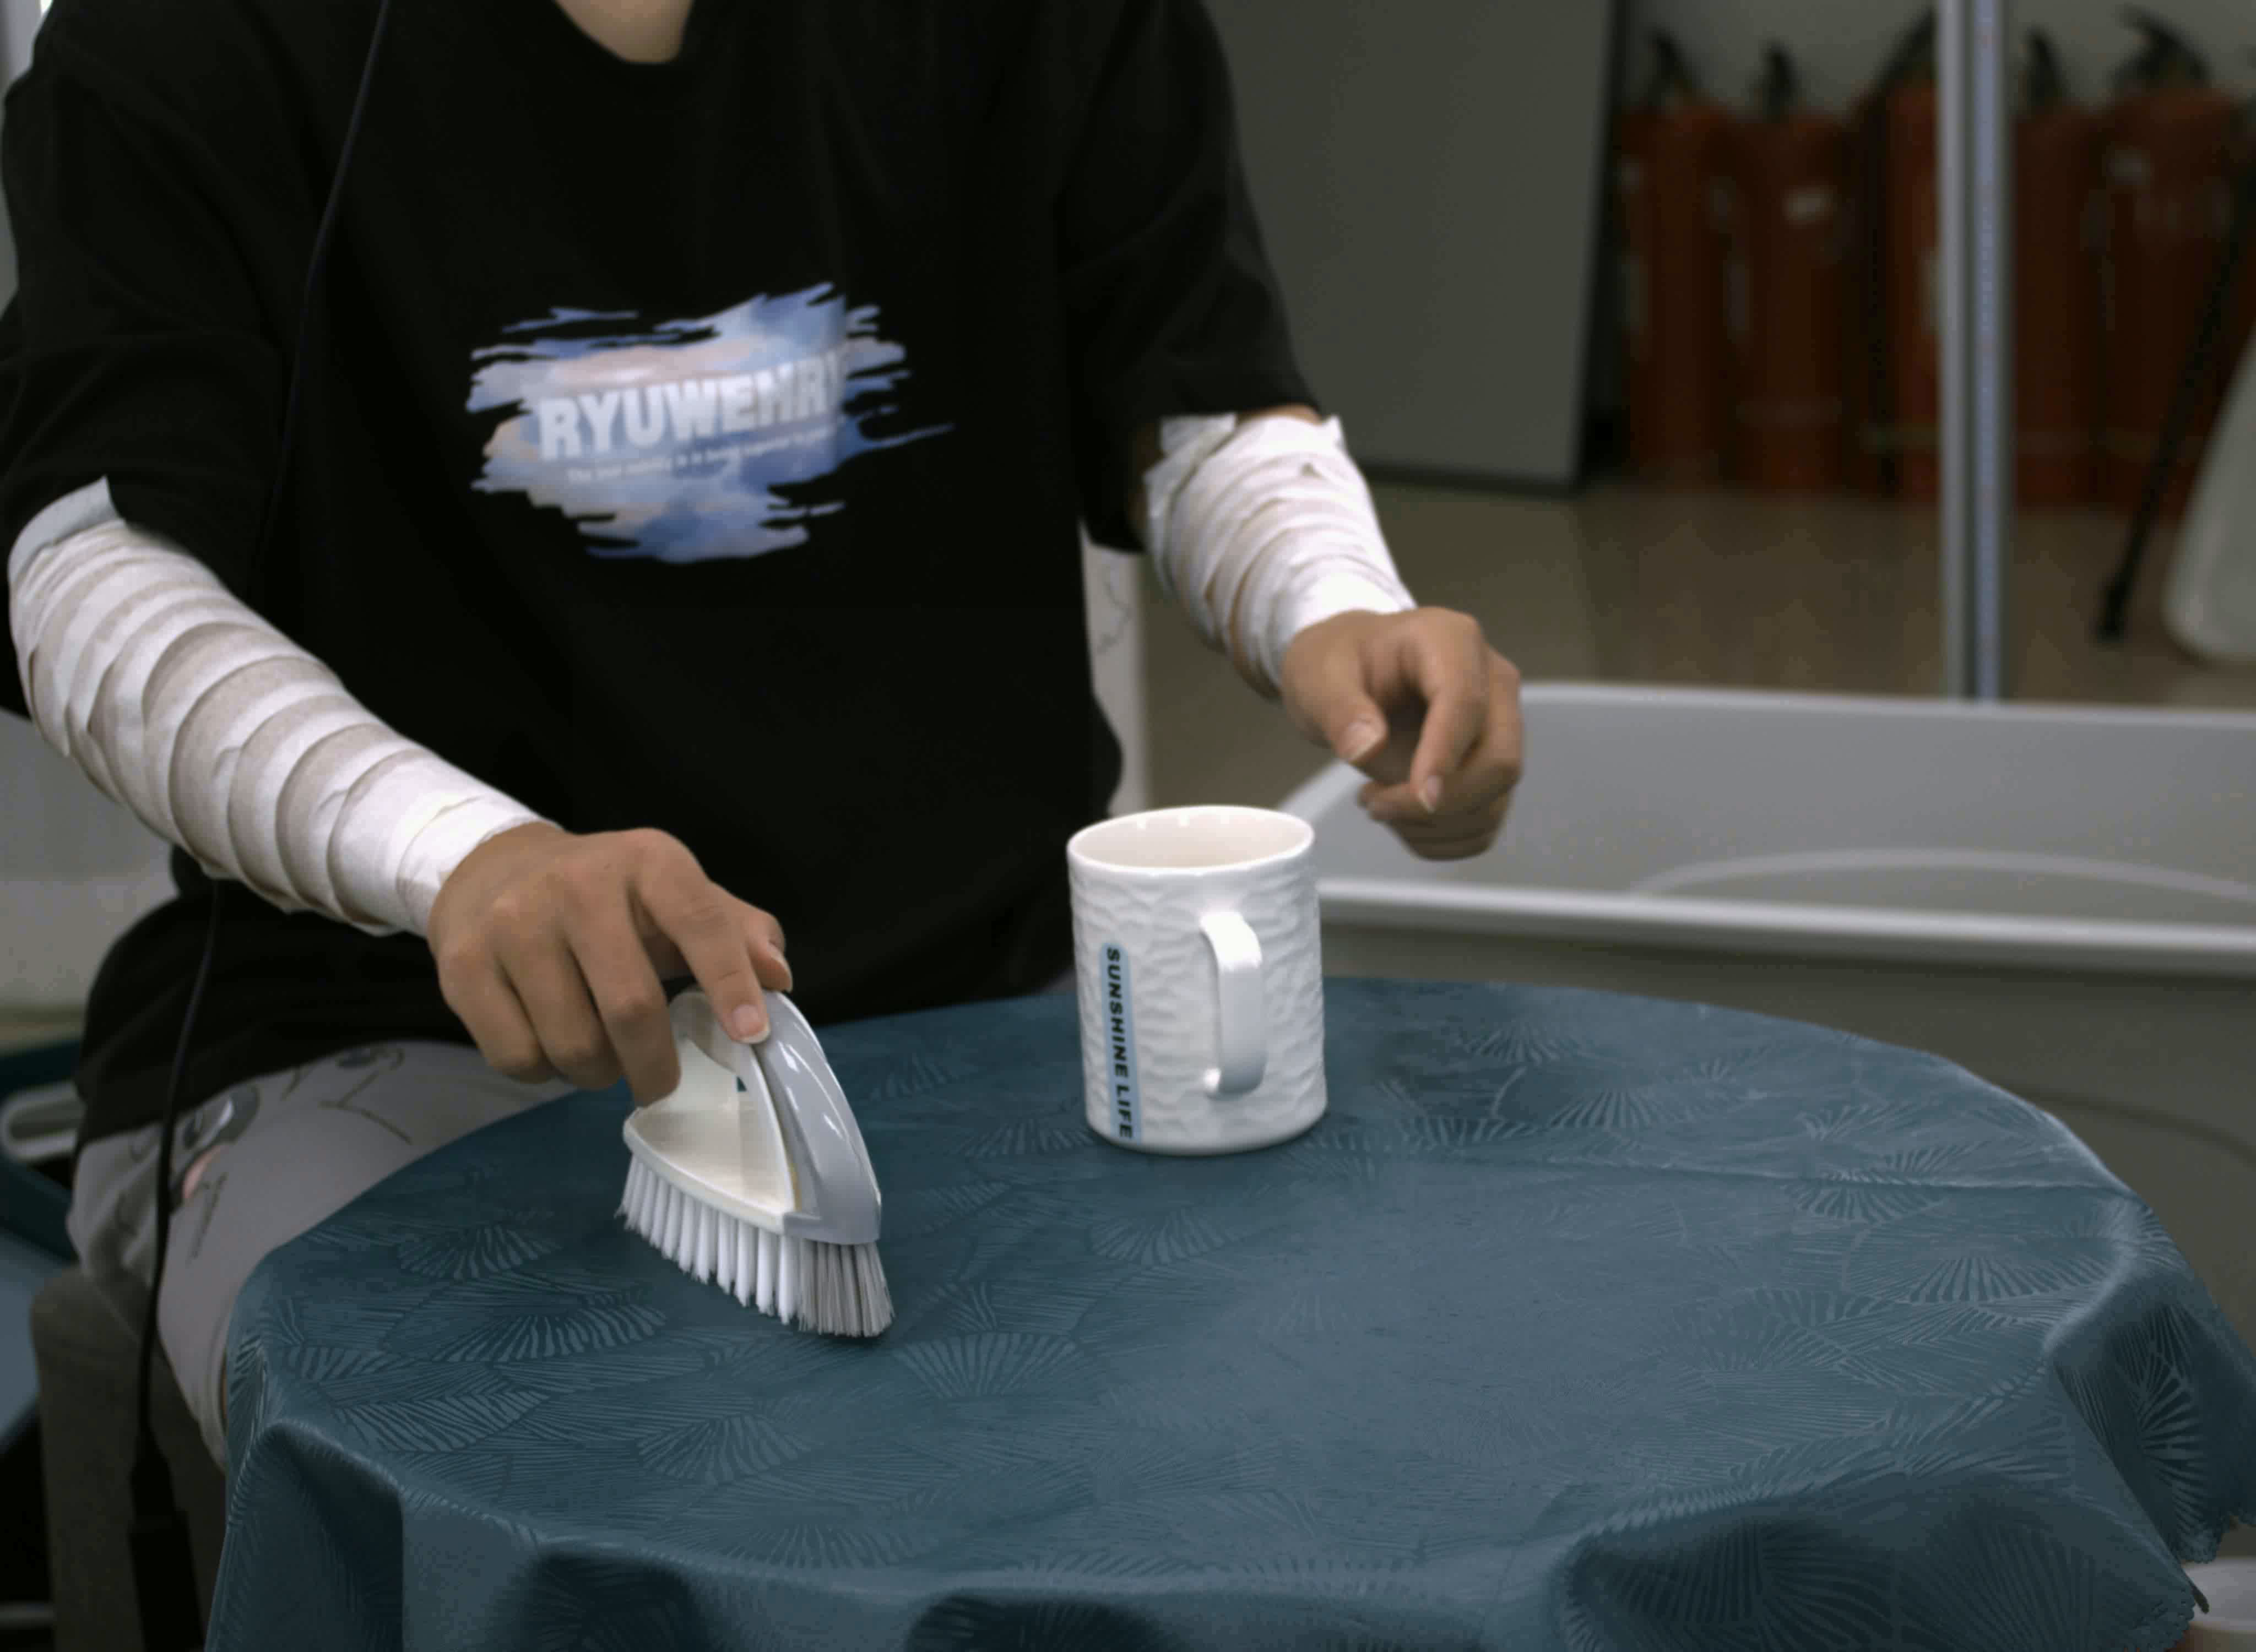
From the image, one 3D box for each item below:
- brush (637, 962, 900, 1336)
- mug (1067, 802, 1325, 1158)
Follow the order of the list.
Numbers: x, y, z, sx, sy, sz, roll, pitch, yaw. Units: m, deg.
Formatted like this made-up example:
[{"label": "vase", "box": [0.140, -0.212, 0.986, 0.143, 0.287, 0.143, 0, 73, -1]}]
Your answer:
[{"label": "brush", "box": [-0.110, 0.098, 1.709, 0.060, 0.095, 0.177, -11, 16, -19]}, {"label": "mug", "box": [0.027, 0.056, 1.814, 0.083, 0.103, 0.119, -6, 14, -10]}]
